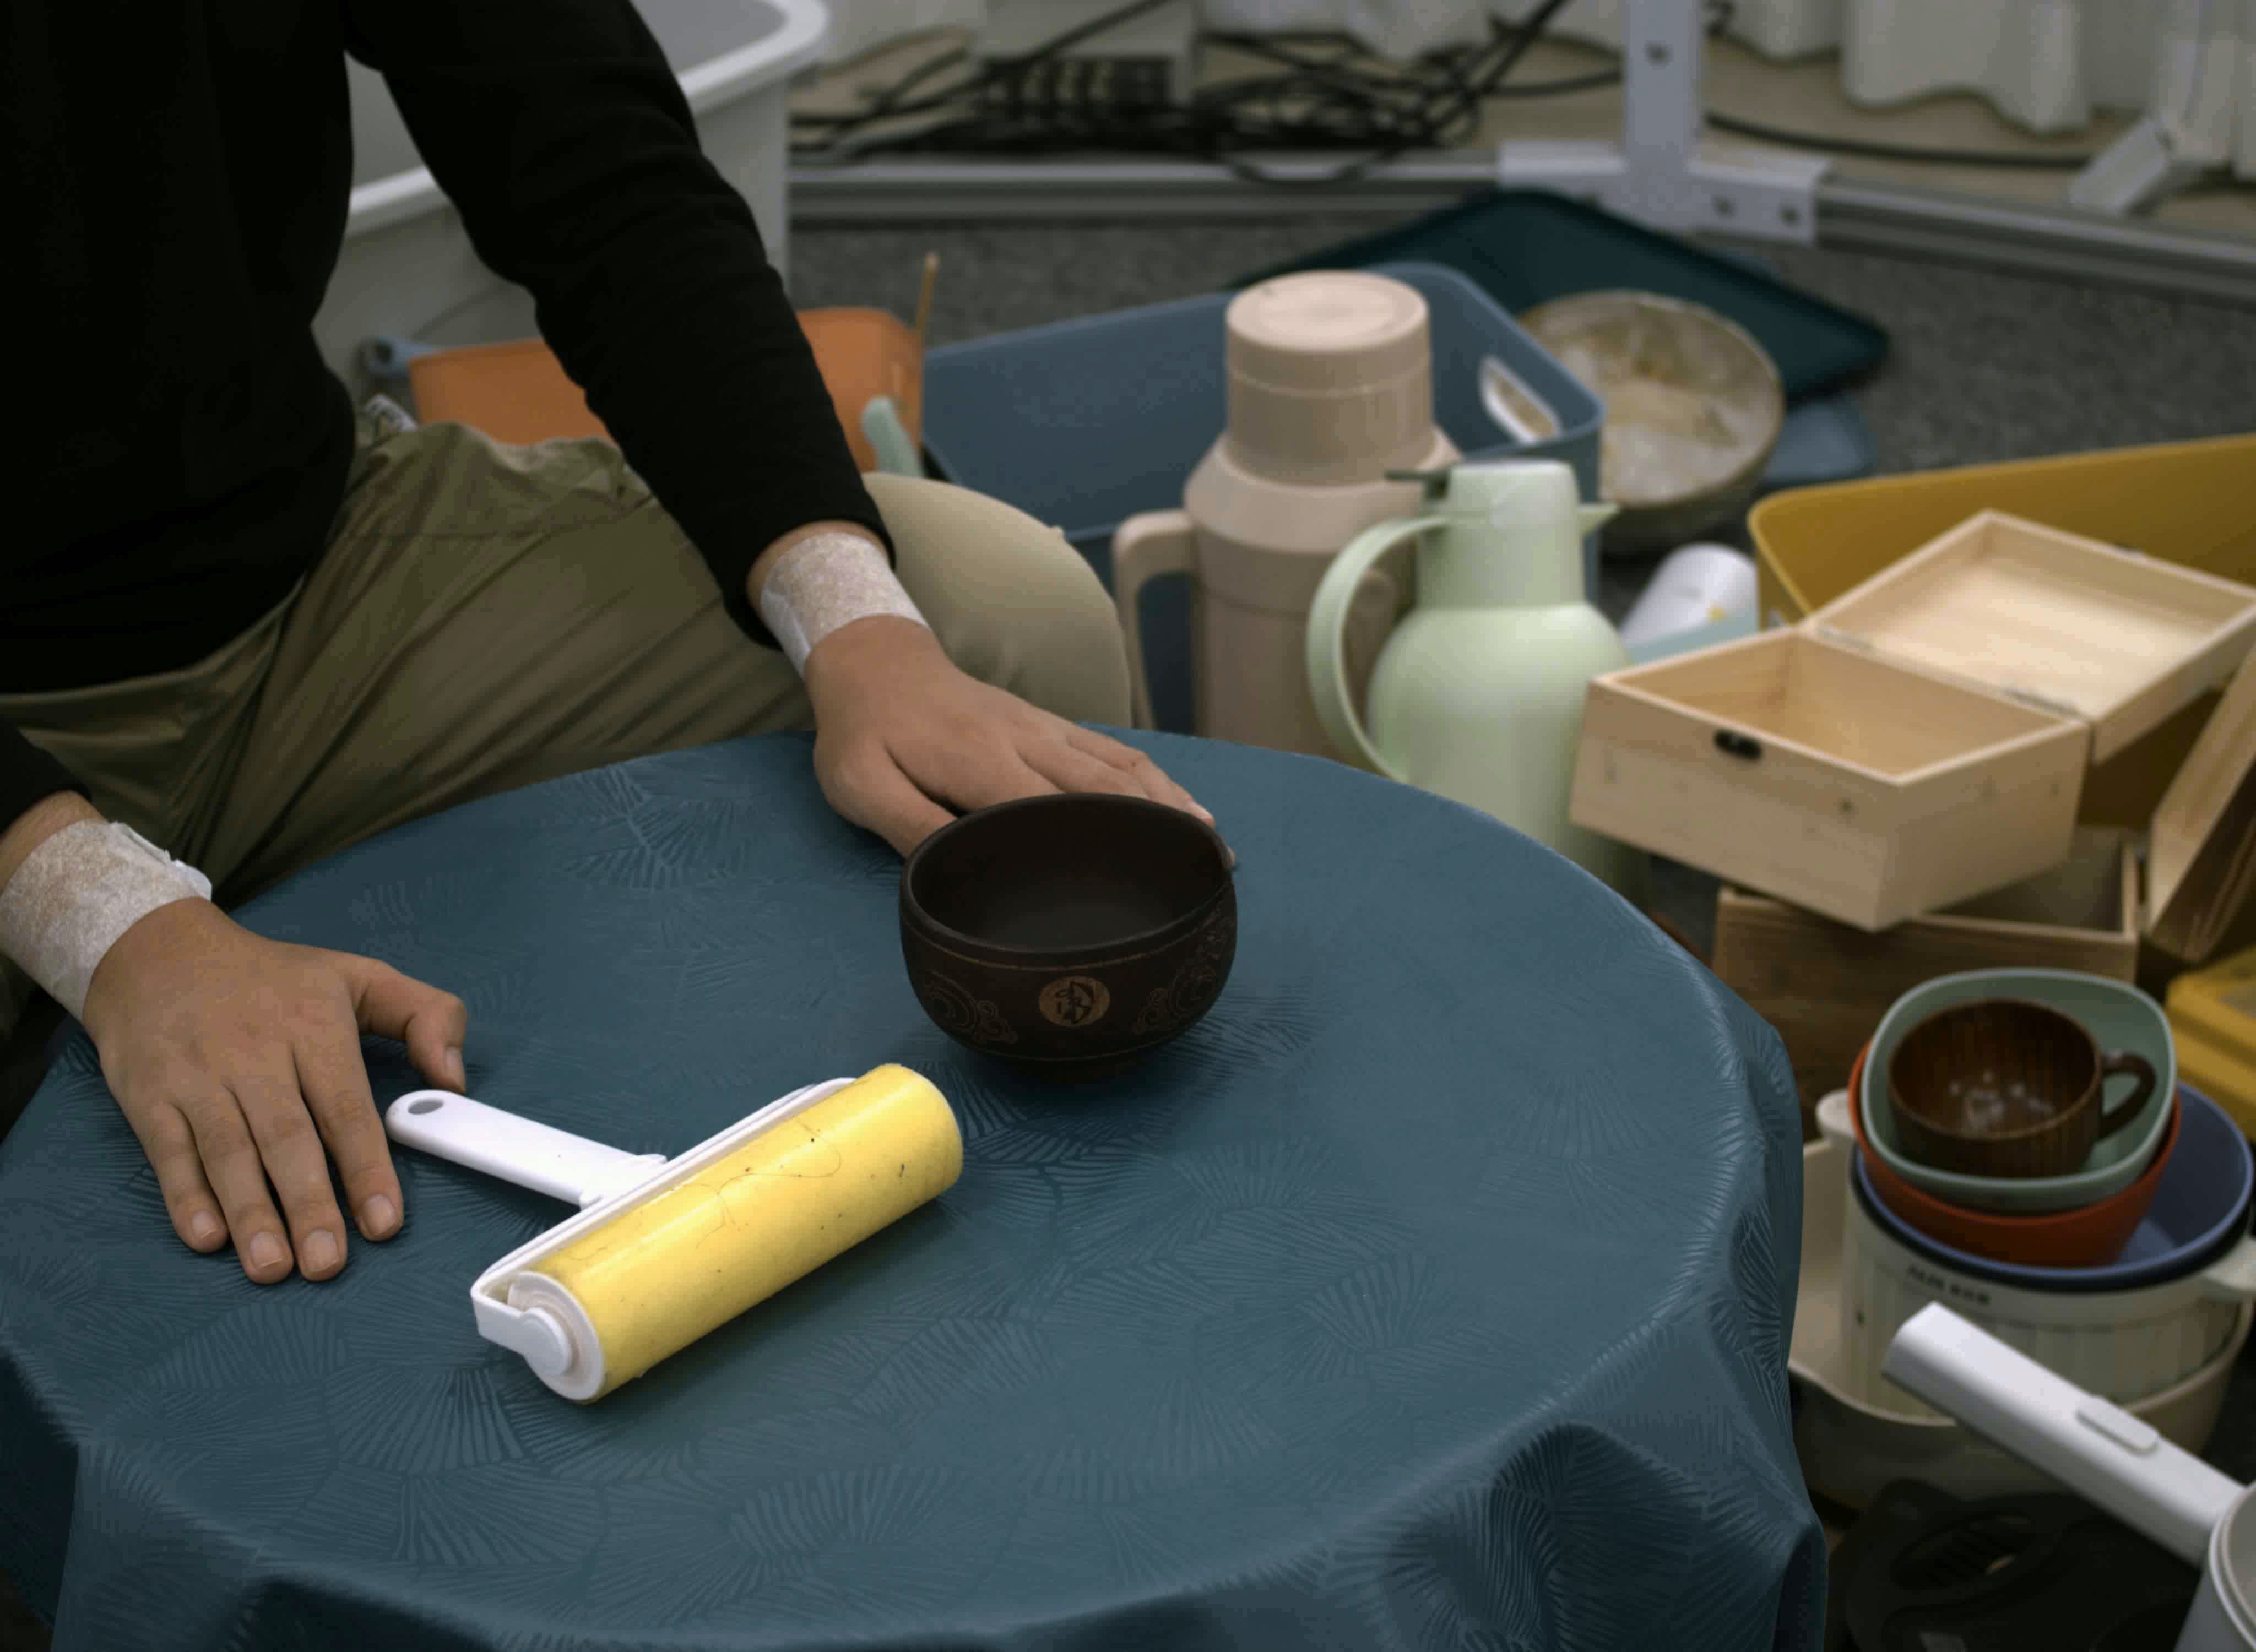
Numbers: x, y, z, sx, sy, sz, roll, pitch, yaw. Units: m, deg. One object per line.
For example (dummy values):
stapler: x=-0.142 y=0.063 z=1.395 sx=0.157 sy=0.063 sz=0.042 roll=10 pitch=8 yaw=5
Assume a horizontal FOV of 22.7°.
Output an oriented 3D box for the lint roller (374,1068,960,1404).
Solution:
lint roller: x=-0.179 y=0.109 z=1.847 sx=0.192 sy=0.051 sz=0.176 roll=24 pitch=37 yaw=34

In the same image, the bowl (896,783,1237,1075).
bowl: x=-0.020 y=0.042 z=1.936 sx=0.117 sy=0.069 sz=0.120 roll=-1 pitch=28 yaw=1
